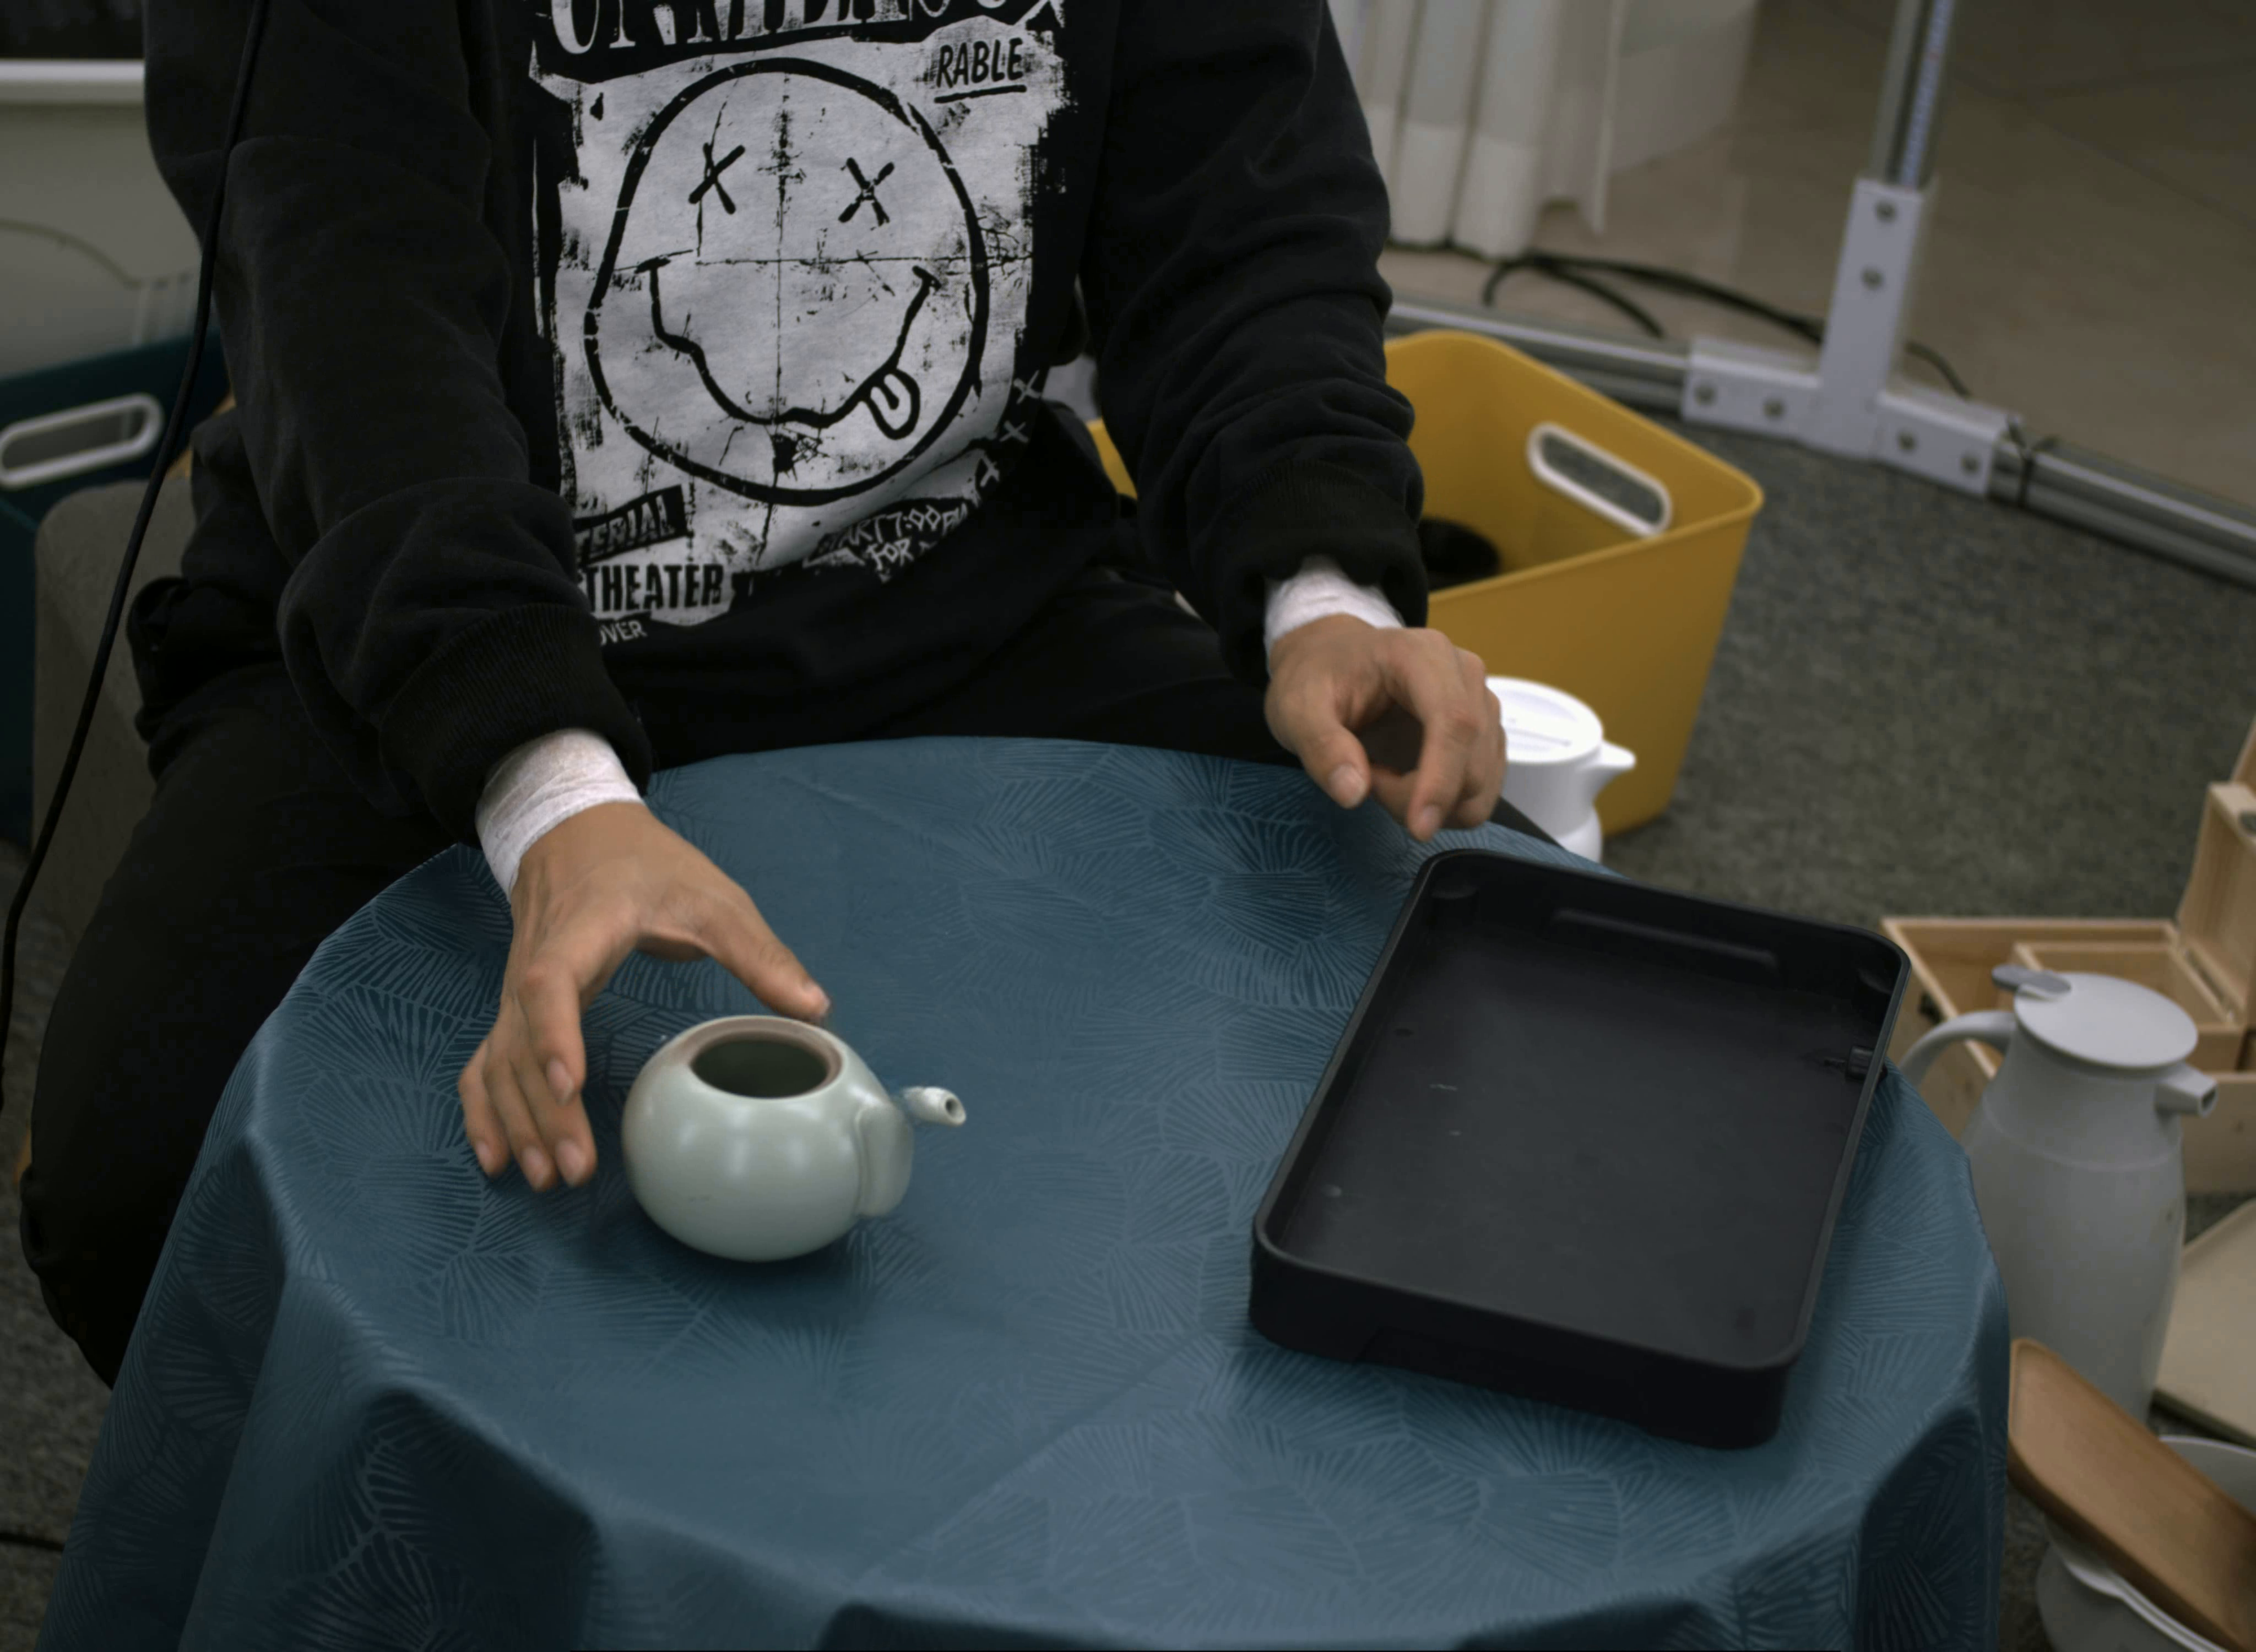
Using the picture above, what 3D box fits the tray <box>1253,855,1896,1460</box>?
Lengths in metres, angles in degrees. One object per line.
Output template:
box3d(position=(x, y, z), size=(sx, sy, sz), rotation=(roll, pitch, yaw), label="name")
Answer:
box3d(position=(0.158, 0.107, 1.834), size=(0.184, 0.037, 0.319), rotation=(11, 27, 9), label="tray")

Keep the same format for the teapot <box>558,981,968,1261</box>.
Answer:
box3d(position=(-0.122, 0.101, 1.743), size=(0.144, 0.074, 0.088), rotation=(17, 28, 18), label="teapot")
